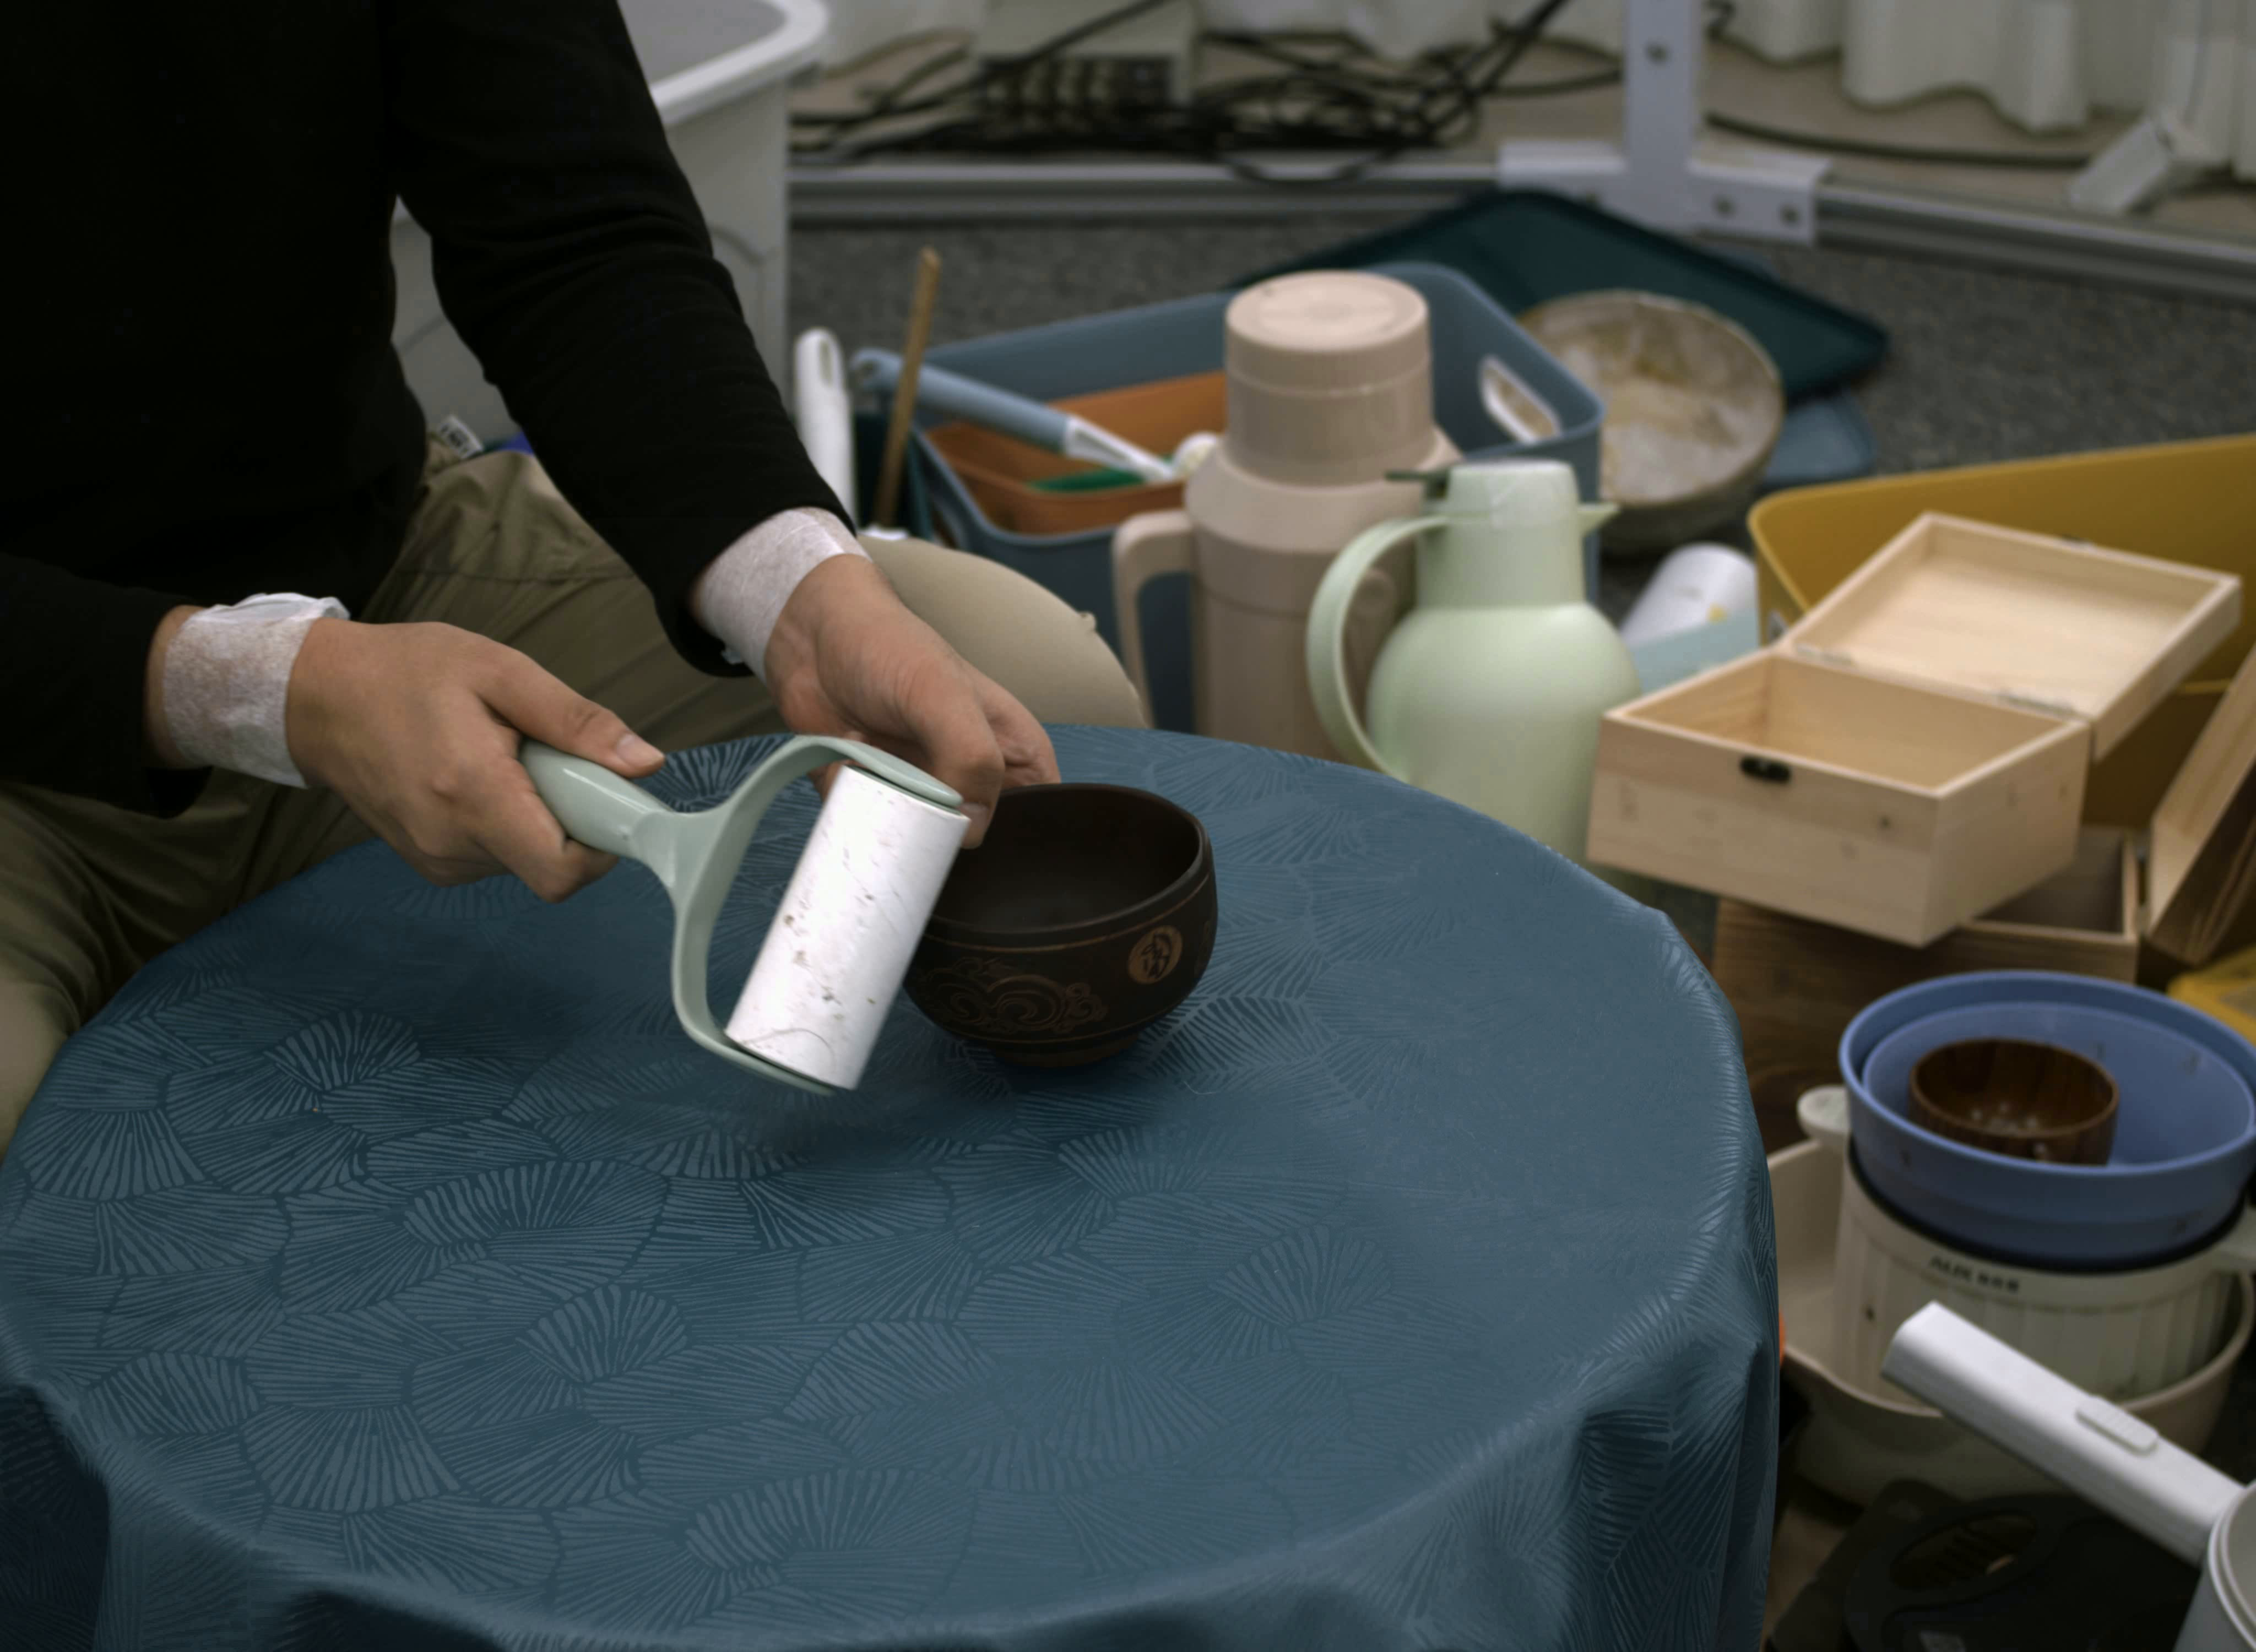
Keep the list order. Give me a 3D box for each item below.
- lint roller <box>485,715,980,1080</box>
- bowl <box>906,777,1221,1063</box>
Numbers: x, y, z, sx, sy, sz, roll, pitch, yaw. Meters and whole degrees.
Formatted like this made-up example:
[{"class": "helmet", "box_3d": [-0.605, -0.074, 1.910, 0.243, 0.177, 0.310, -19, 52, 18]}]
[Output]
[{"class": "lint roller", "box_3d": [-0.148, 0.001, 1.912, 0.197, 0.117, 0.048, 24, 1, 28]}, {"class": "bowl", "box_3d": [-0.025, 0.039, 1.944, 0.117, 0.069, 0.119, -5, 24, 3]}]
